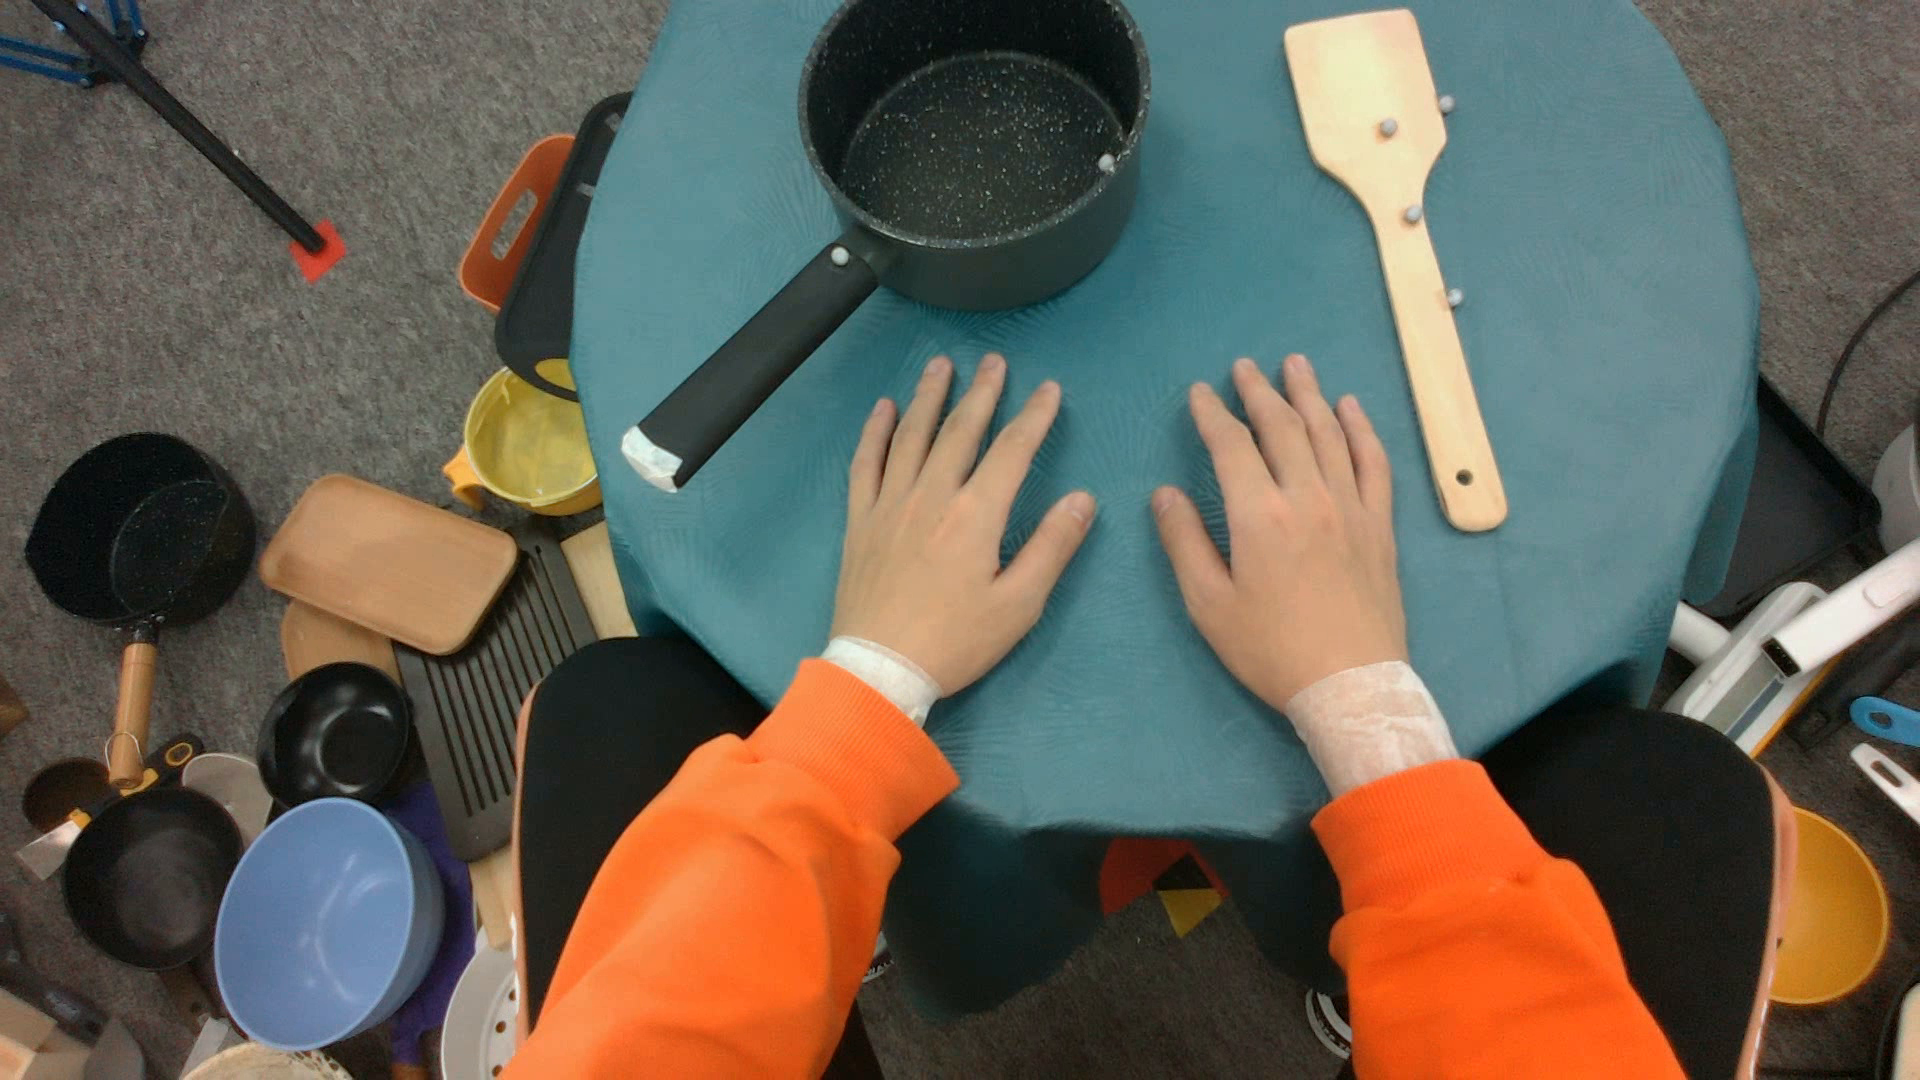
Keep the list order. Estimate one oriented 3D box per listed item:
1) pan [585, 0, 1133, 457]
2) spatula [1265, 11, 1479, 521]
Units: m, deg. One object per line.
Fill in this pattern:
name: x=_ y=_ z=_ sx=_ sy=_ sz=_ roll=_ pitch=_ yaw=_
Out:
pan: x=-0.049 y=-0.154 z=0.683 sx=0.172 sy=0.086 sz=0.329 roll=37 pitch=76 yaw=17
spatula: x=0.216 y=-0.146 z=0.695 sx=0.072 sy=0.010 sz=0.294 roll=-7 pitch=70 yaw=-1
